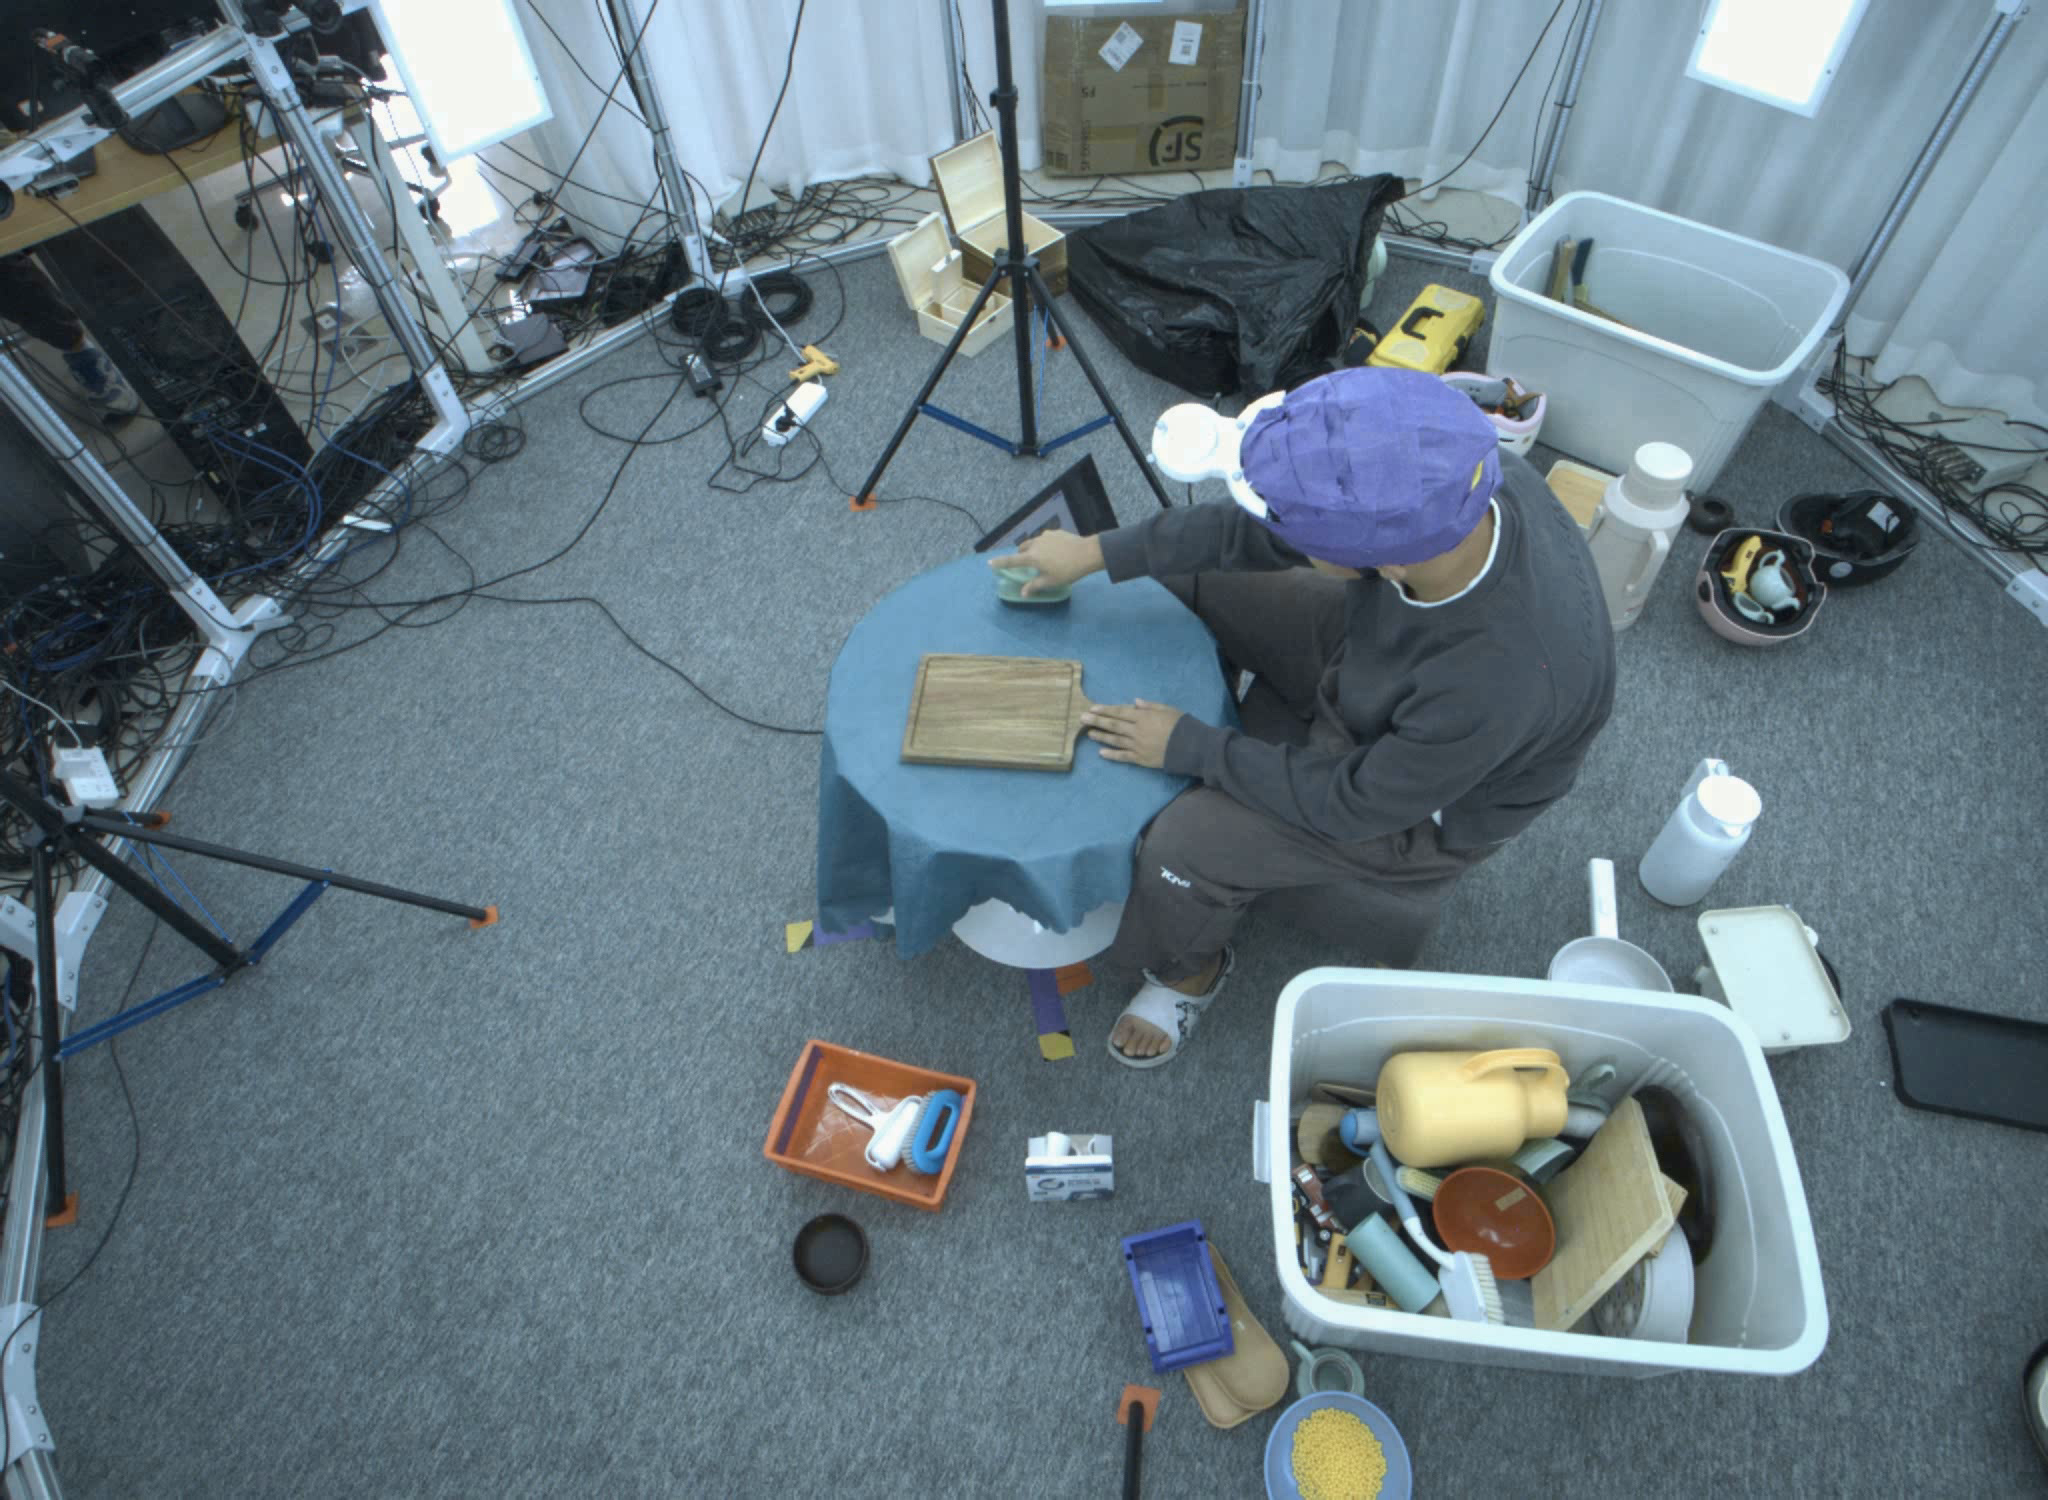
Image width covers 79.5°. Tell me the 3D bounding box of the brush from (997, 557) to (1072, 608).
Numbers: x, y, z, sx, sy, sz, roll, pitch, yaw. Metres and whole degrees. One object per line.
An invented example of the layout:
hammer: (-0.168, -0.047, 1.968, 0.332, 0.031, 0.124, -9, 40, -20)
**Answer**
brush: (0.013, -0.261, 1.935, 0.123, 0.076, 0.059, 9, 53, -6)

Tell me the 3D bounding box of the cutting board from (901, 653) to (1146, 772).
cutting board: (0.004, -0.055, 1.814, 0.351, 0.023, 0.199, 4, 55, 4)
